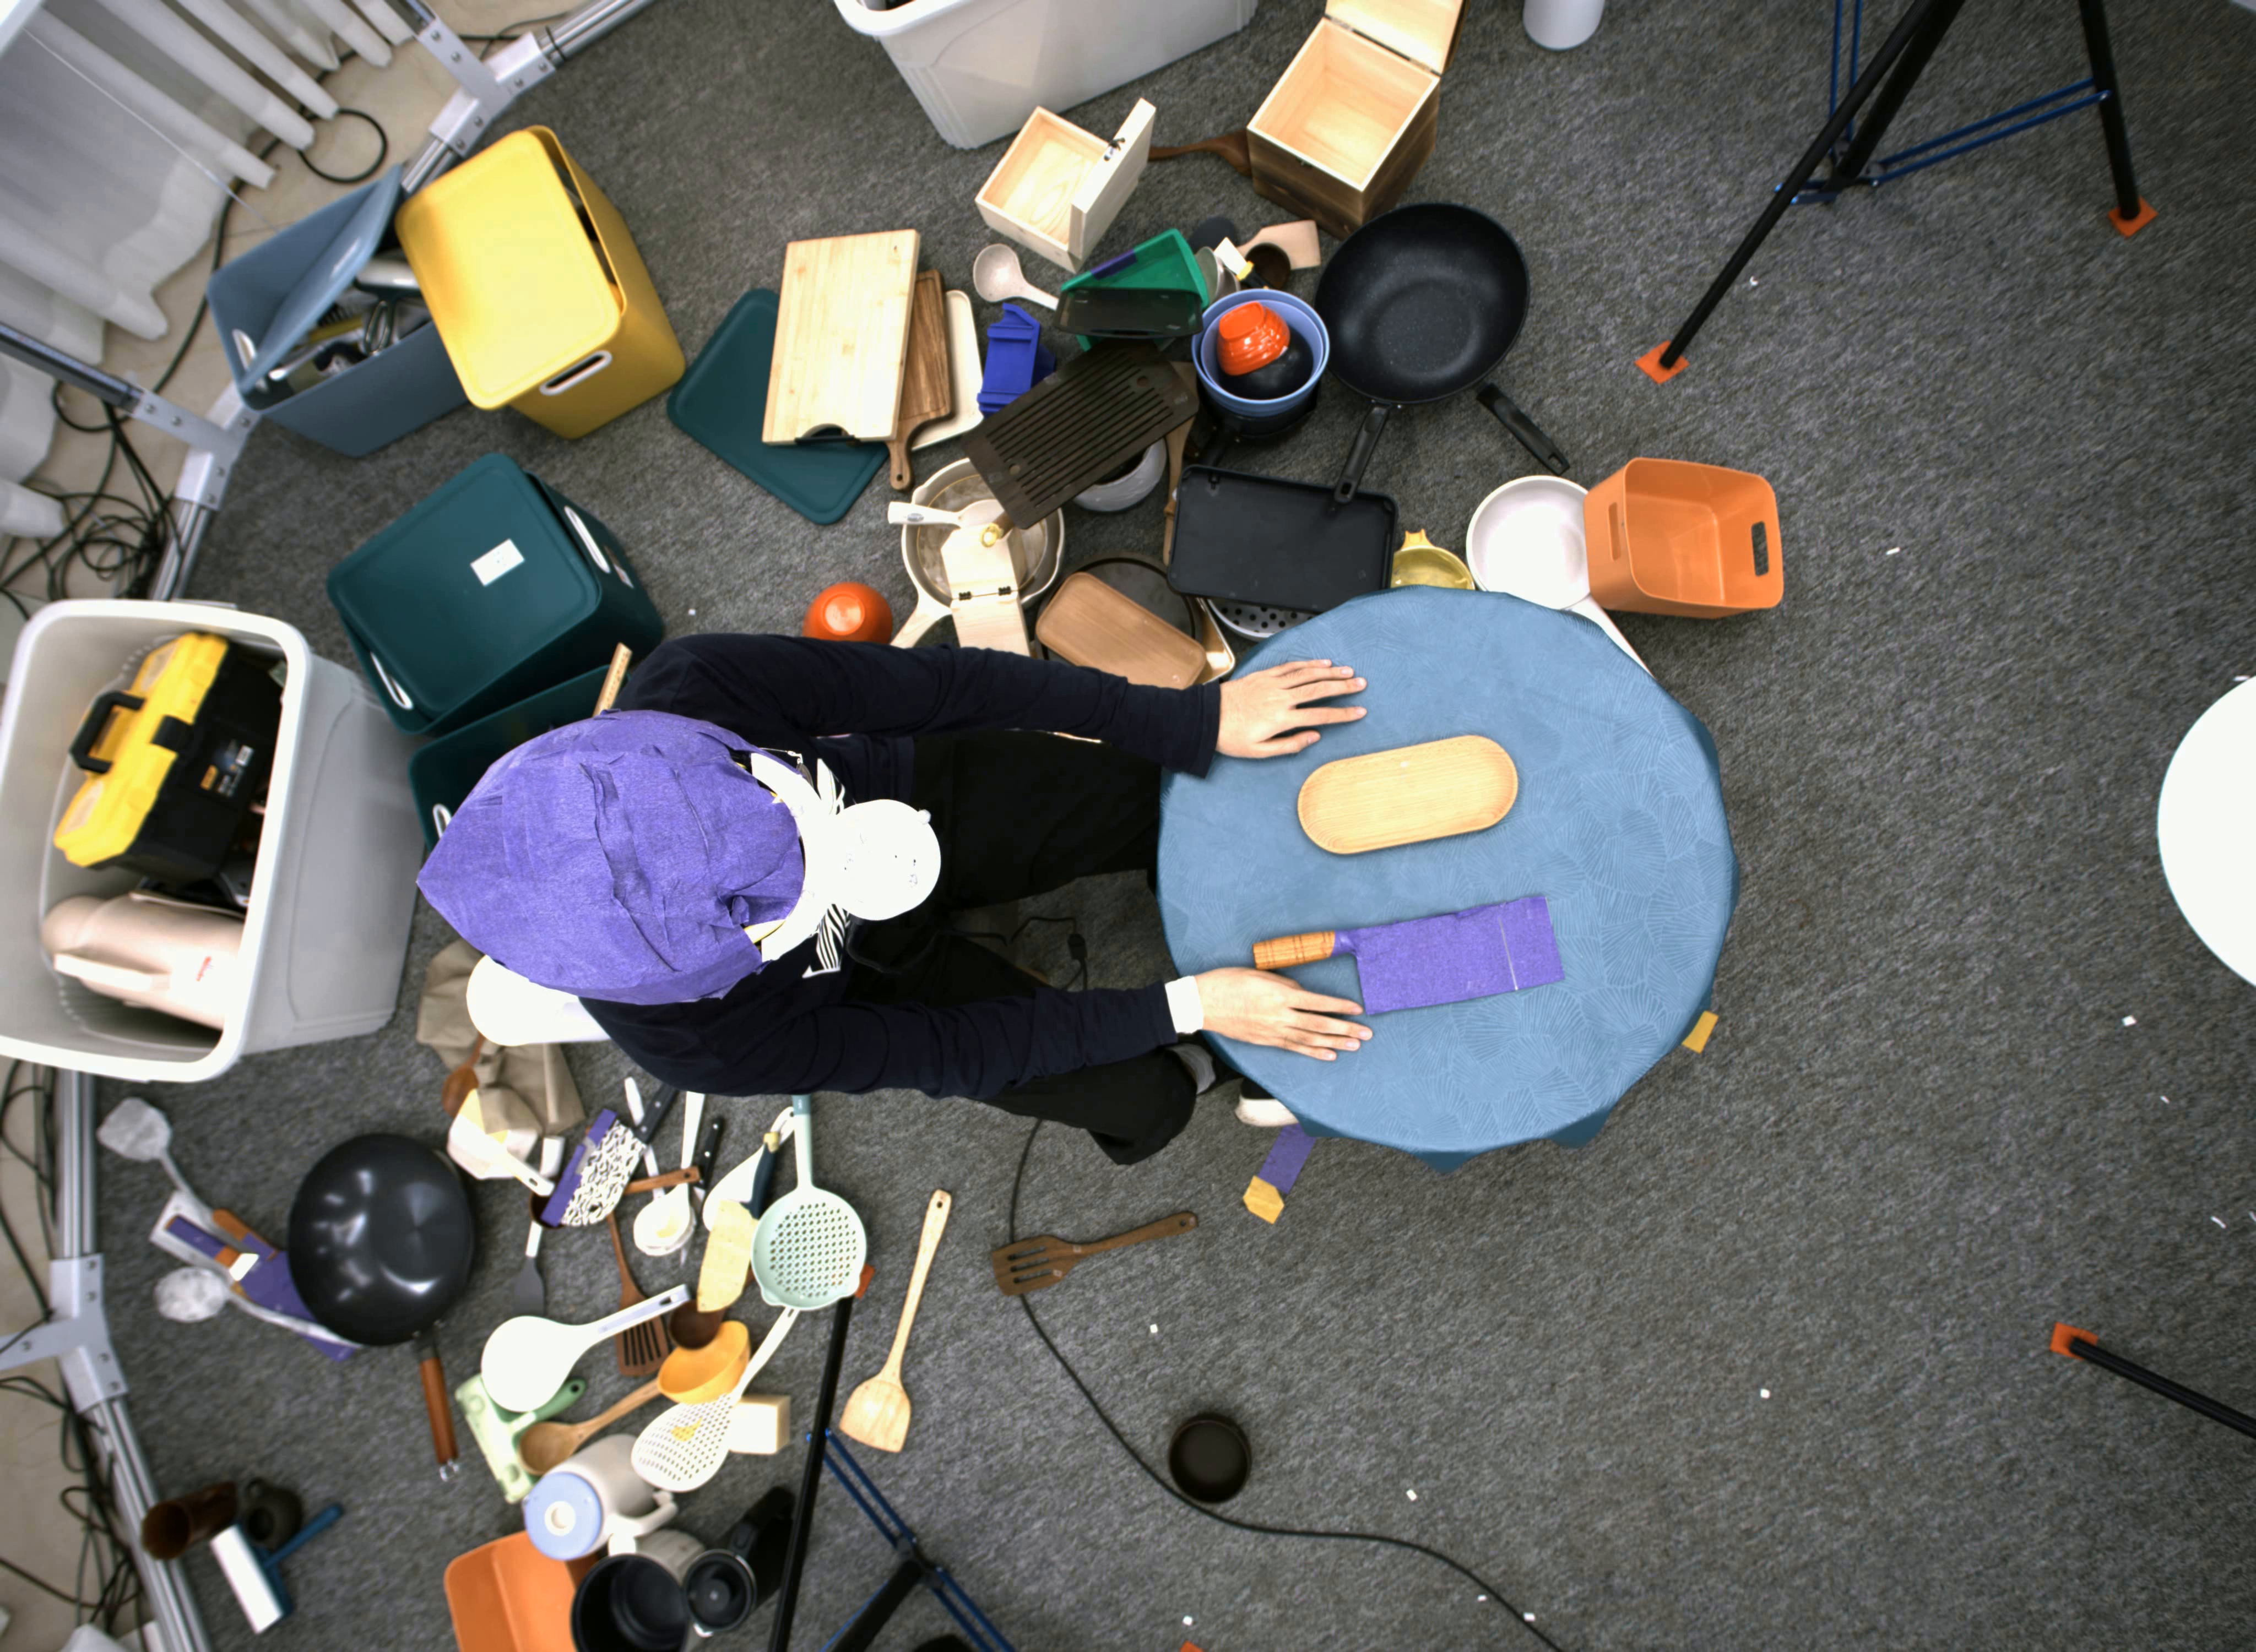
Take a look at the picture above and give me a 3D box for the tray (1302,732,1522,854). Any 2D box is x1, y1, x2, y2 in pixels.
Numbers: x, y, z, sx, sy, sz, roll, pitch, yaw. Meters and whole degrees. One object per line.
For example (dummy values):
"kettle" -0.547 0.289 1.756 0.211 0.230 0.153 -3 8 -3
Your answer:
"tray" 0.298 -0.035 1.453 0.232 0.020 0.101 -13 85 9

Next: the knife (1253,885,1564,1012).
"knife" 0.292 0.140 1.439 0.317 0.032 0.103 -12 84 9
